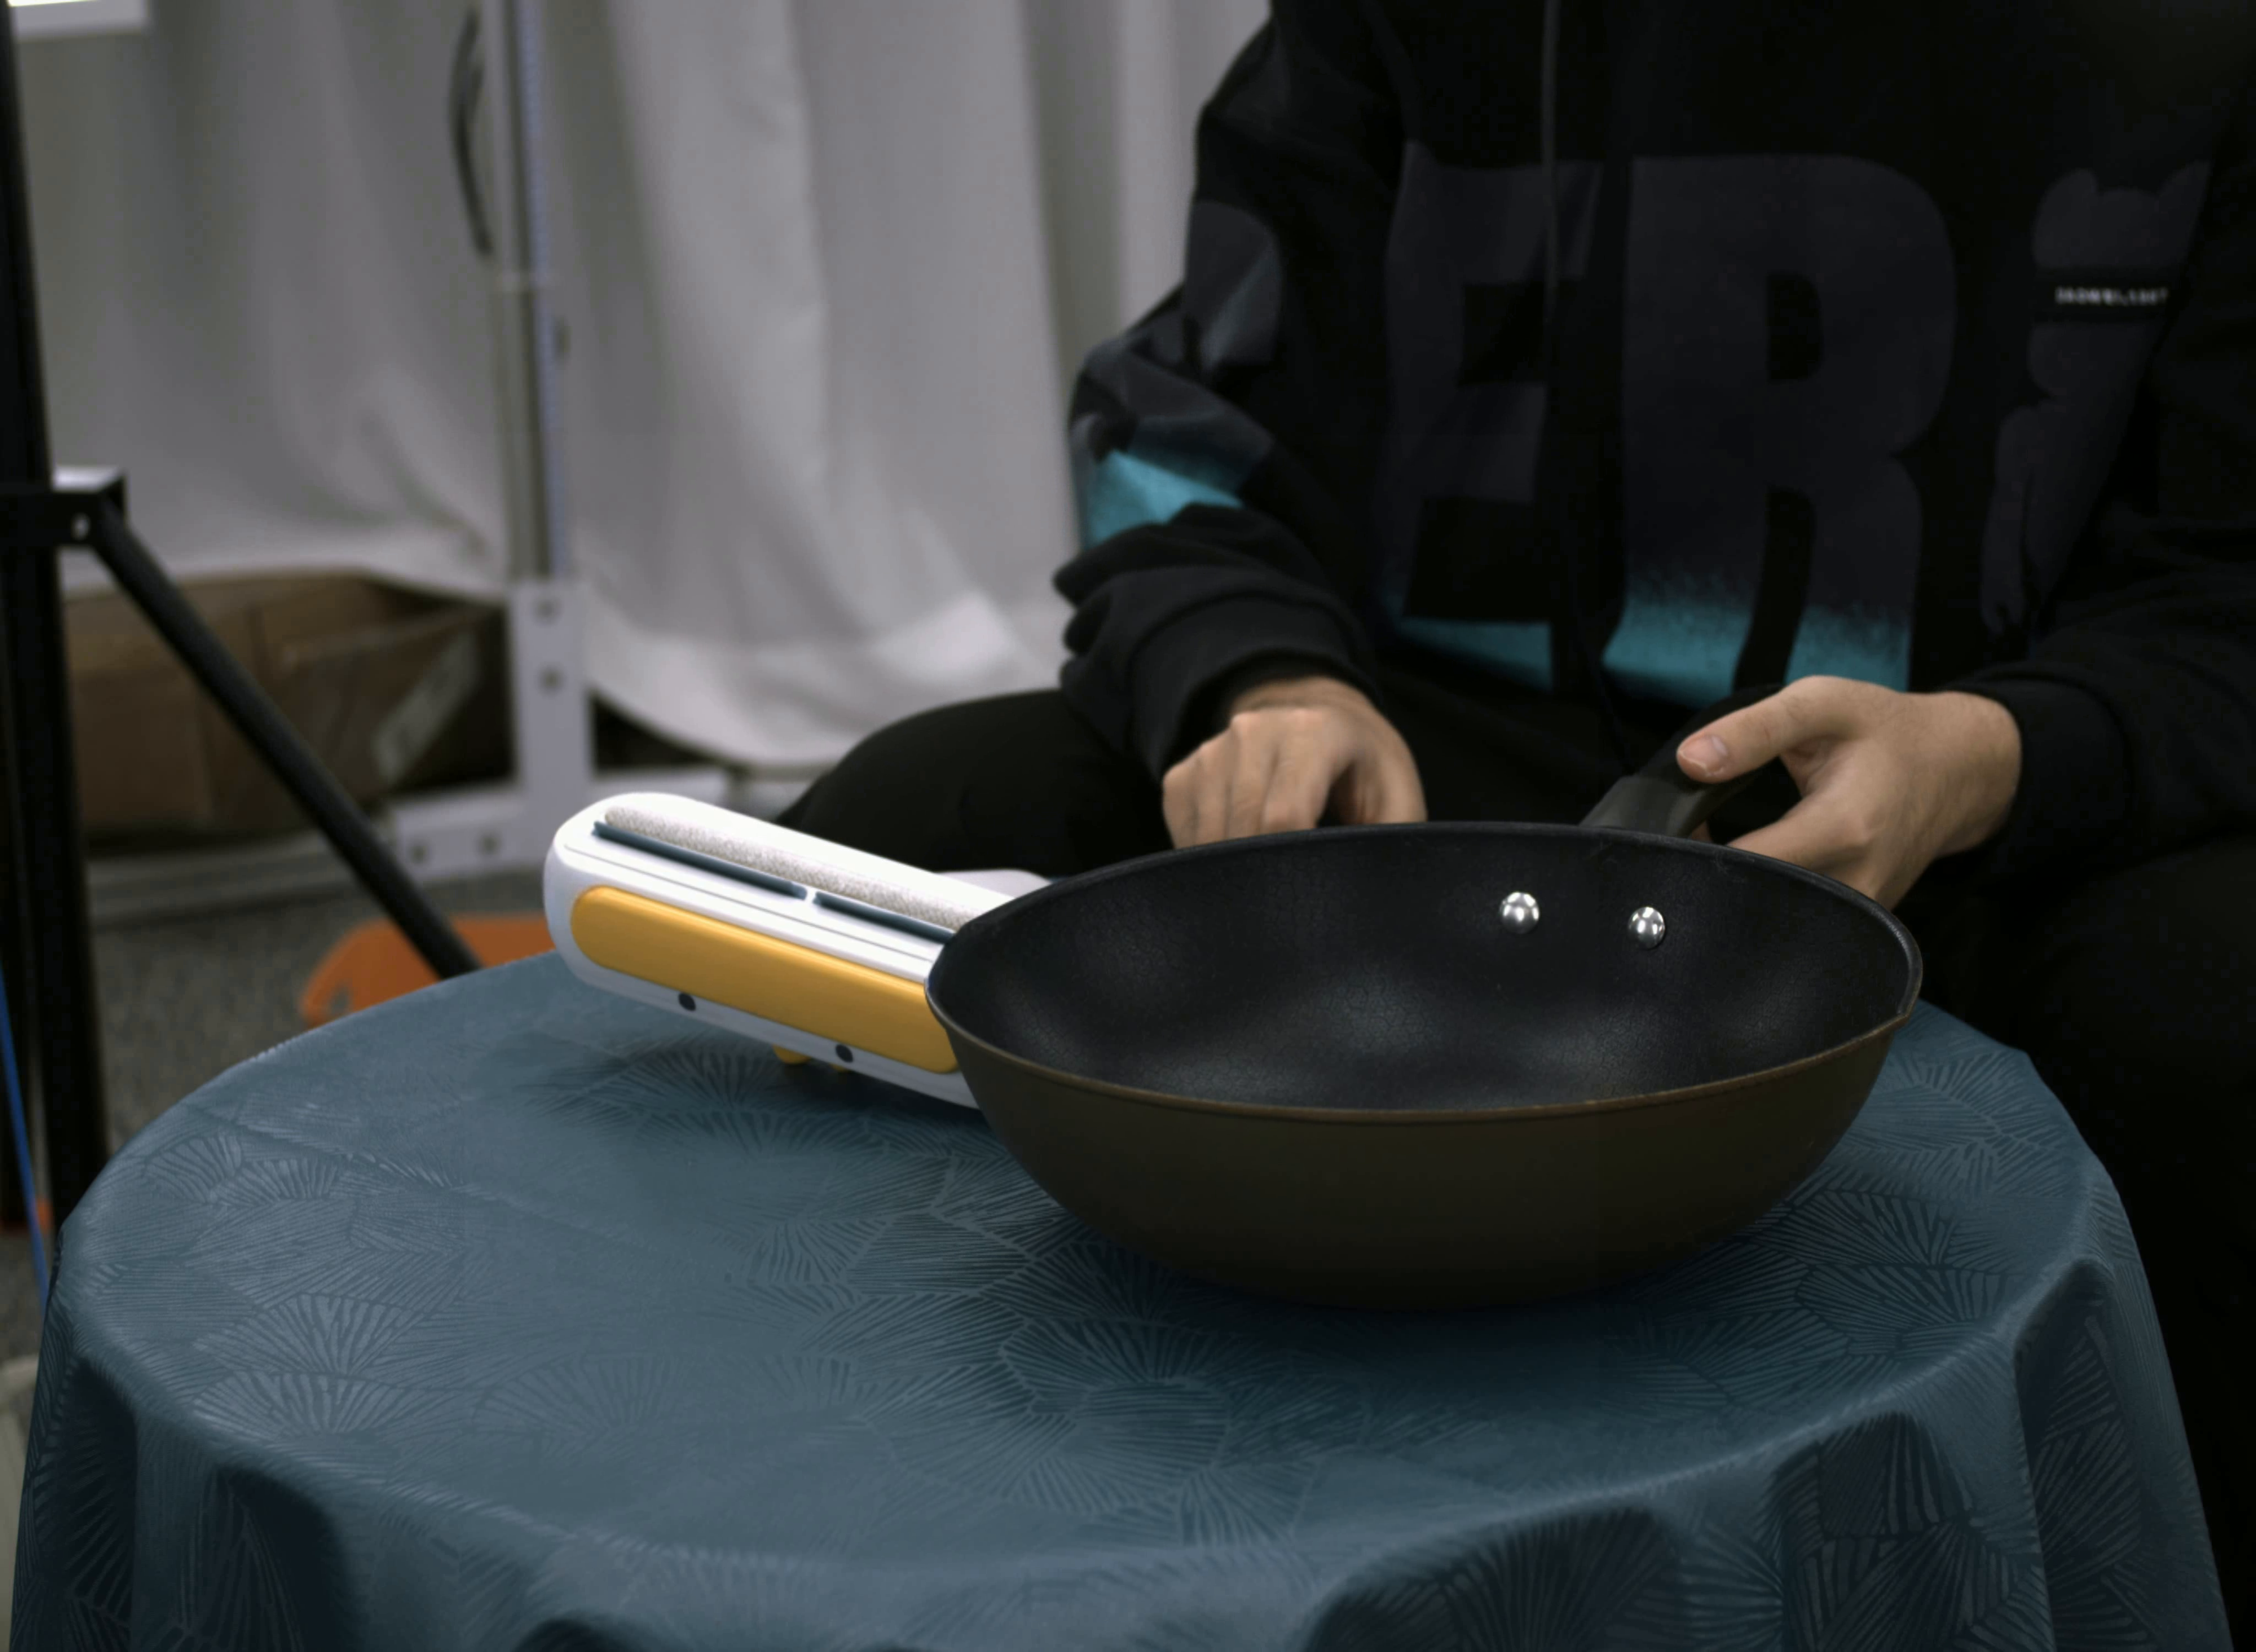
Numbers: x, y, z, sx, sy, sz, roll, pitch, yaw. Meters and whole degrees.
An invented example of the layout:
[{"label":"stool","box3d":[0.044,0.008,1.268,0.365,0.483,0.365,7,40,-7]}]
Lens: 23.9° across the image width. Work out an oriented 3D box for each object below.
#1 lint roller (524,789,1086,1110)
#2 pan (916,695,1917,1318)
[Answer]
[{"label":"lint roller","box3d":[-0.072,0.031,1.719,0.196,0.074,0.189,13,20,30]},{"label":"pan","box3d":[0.121,0.051,1.585,0.293,0.087,0.456,5,17,26]}]
